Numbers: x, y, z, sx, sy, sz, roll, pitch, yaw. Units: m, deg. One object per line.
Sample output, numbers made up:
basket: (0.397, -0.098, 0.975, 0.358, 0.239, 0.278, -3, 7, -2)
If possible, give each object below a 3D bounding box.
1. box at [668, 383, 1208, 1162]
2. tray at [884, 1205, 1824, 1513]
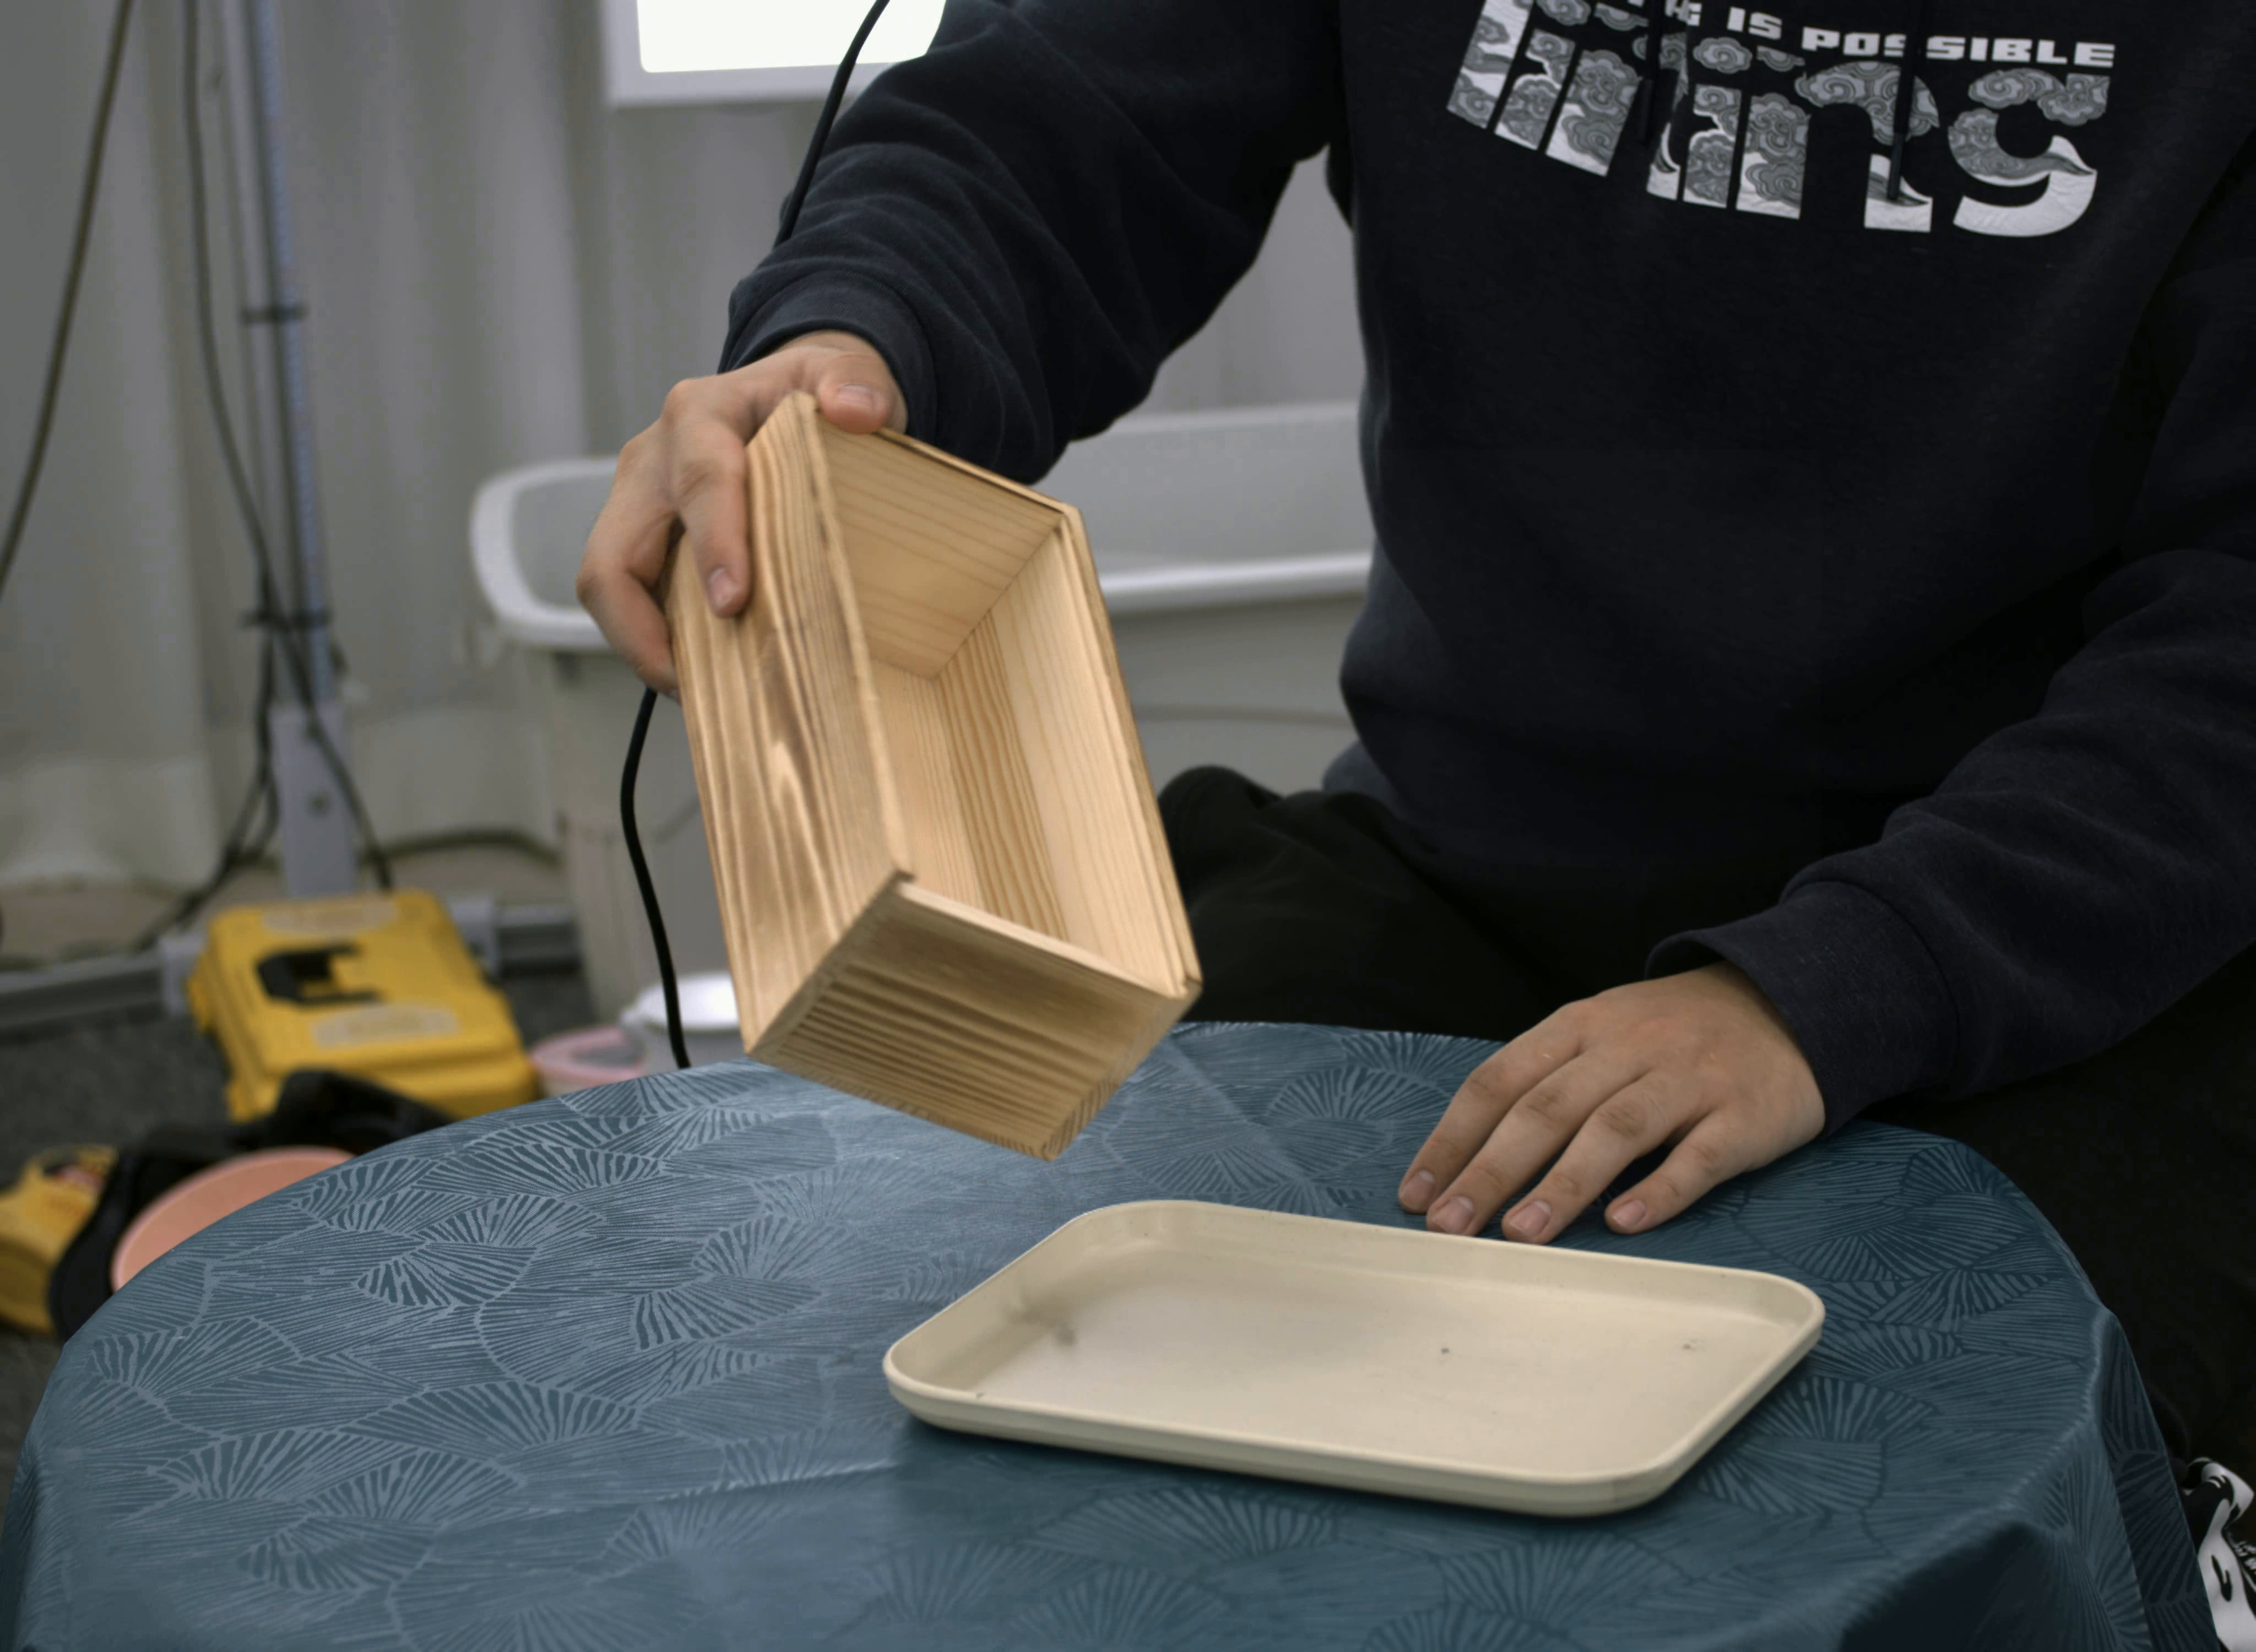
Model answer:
box: (-0.059, -0.017, 1.597, 0.106, 0.080, 0.215, 23, 34, -31)
tray: (0.065, 0.149, 1.542, 0.240, 0.017, 0.171, 5, 16, 26)
